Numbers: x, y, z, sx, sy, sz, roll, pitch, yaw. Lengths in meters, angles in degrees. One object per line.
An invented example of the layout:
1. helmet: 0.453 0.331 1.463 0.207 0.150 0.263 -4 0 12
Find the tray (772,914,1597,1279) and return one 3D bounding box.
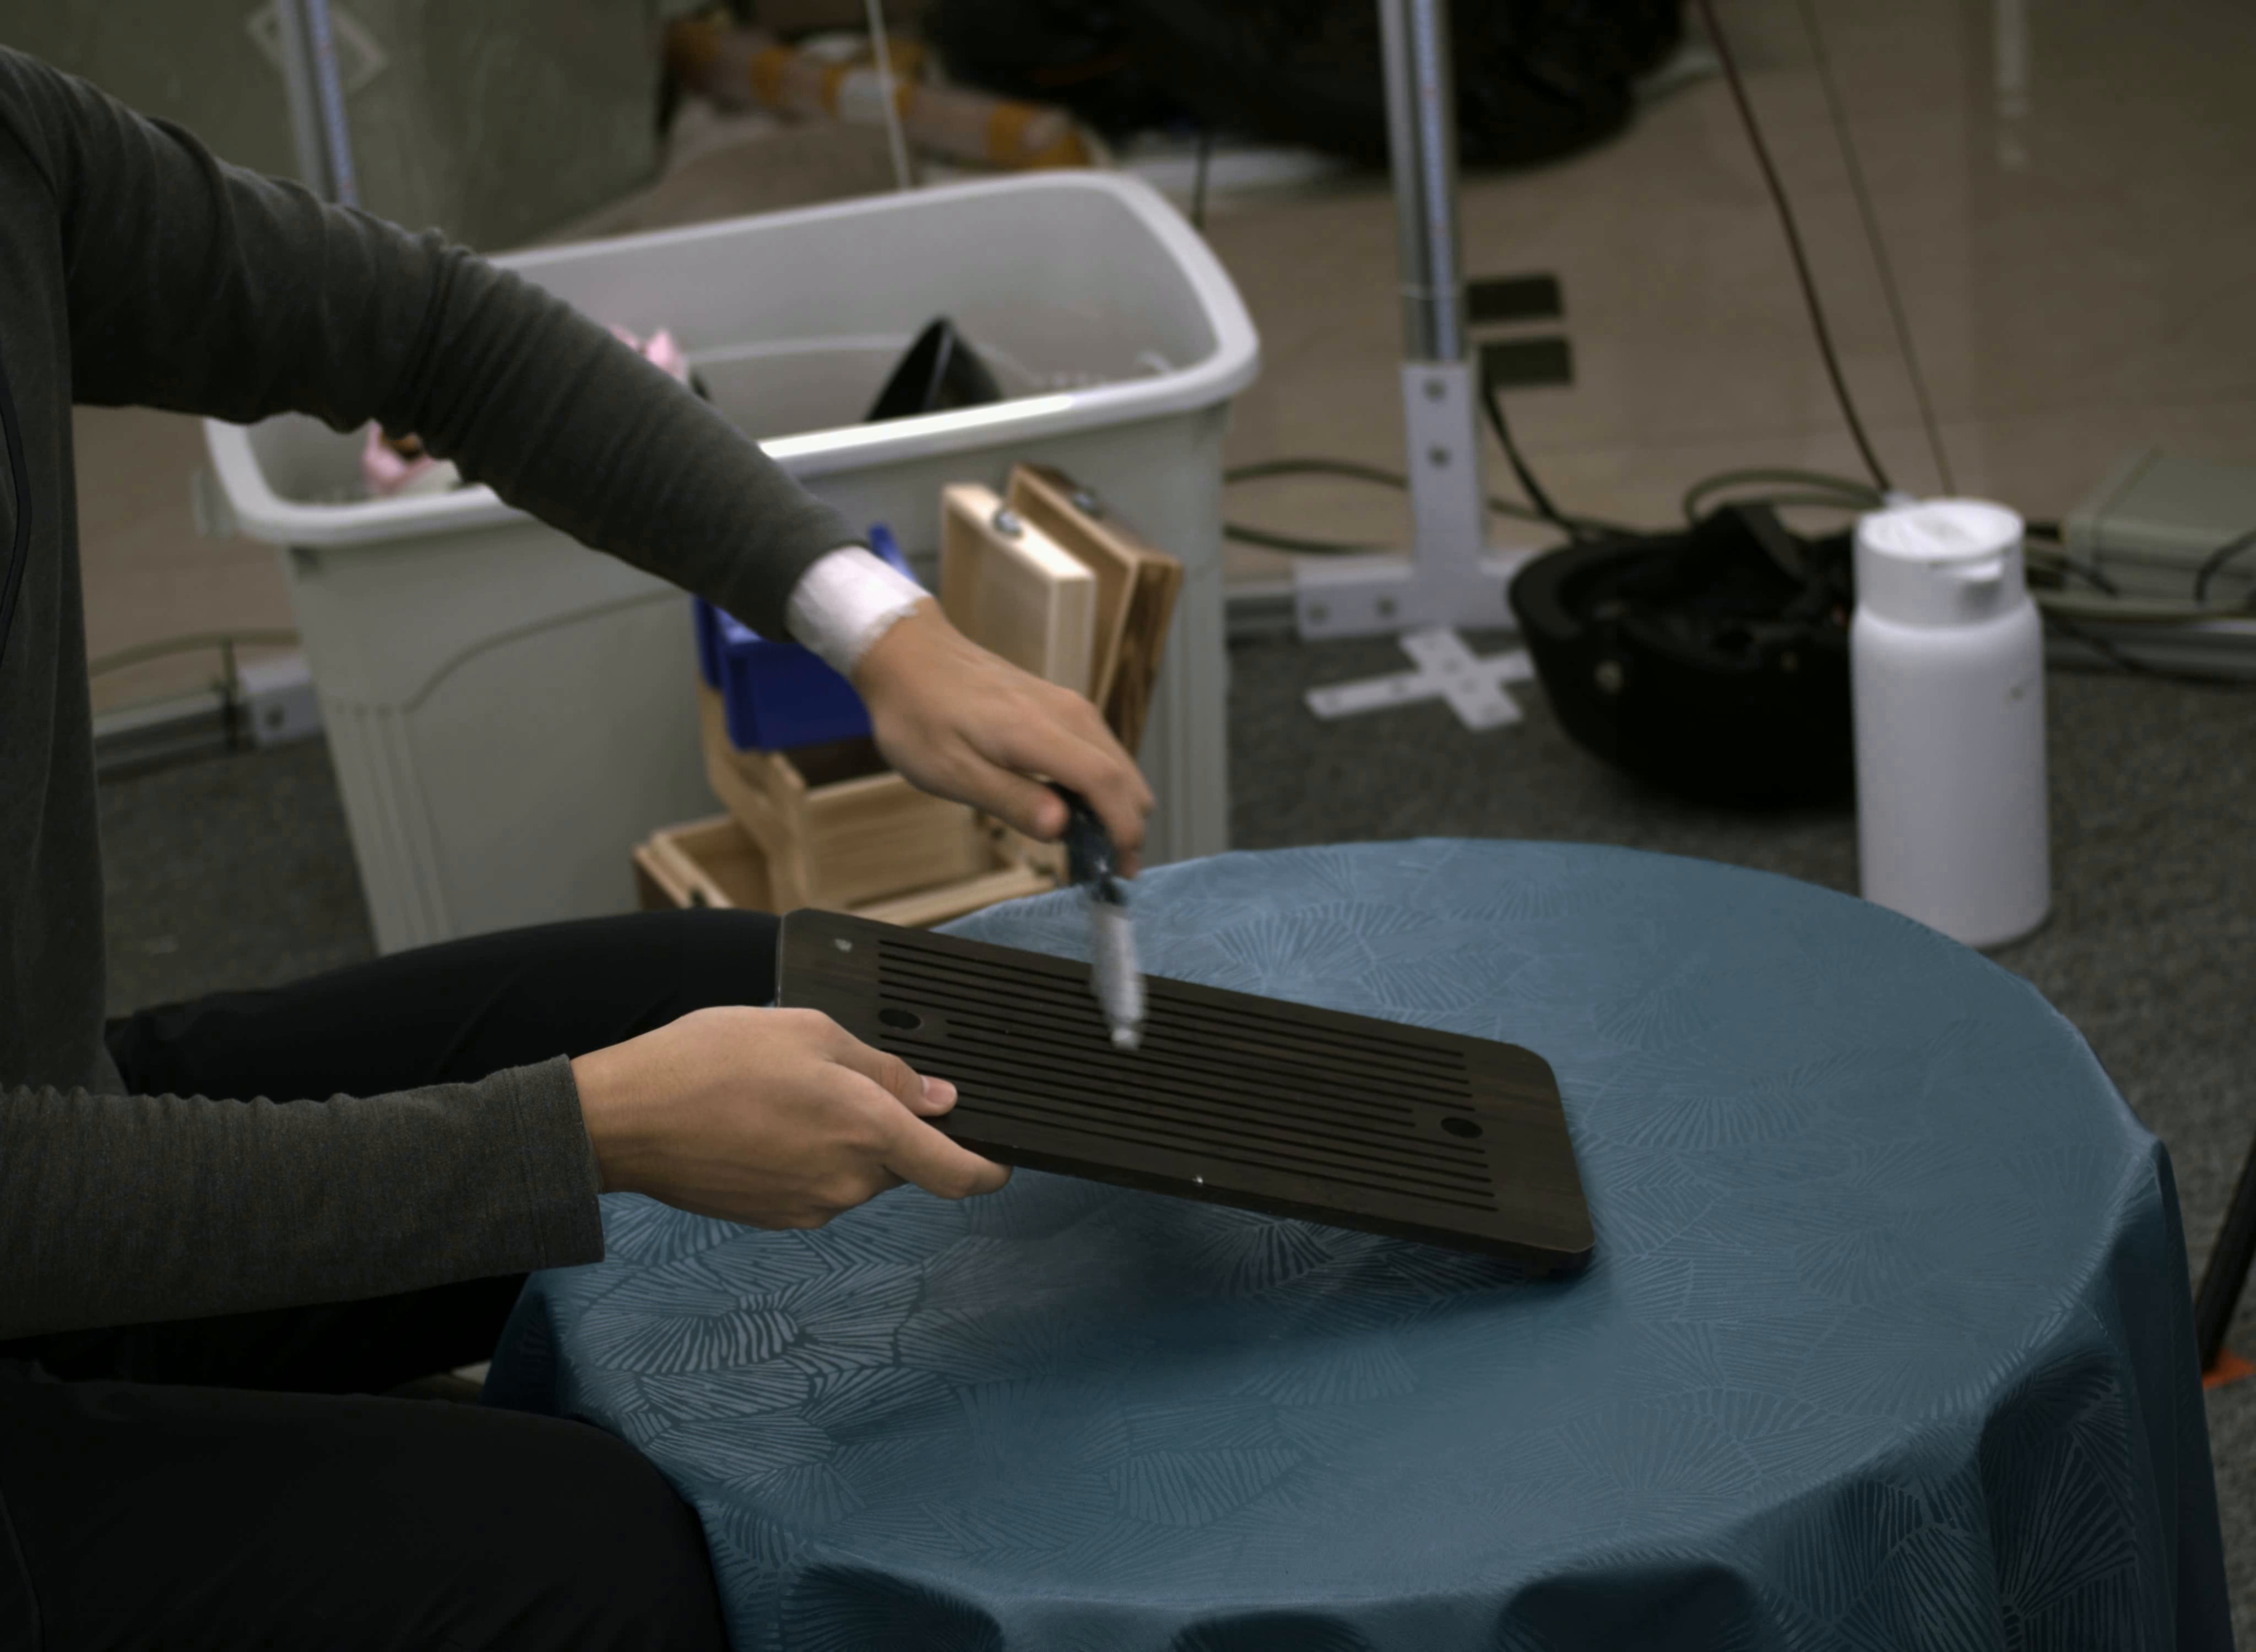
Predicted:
1. tray: 0.018 0.101 2.102 0.306 0.019 0.167 11 23 -8

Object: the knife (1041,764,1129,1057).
1. knife: -0.017 0.031 2.209 0.024 0.016 0.234 21 23 -16
